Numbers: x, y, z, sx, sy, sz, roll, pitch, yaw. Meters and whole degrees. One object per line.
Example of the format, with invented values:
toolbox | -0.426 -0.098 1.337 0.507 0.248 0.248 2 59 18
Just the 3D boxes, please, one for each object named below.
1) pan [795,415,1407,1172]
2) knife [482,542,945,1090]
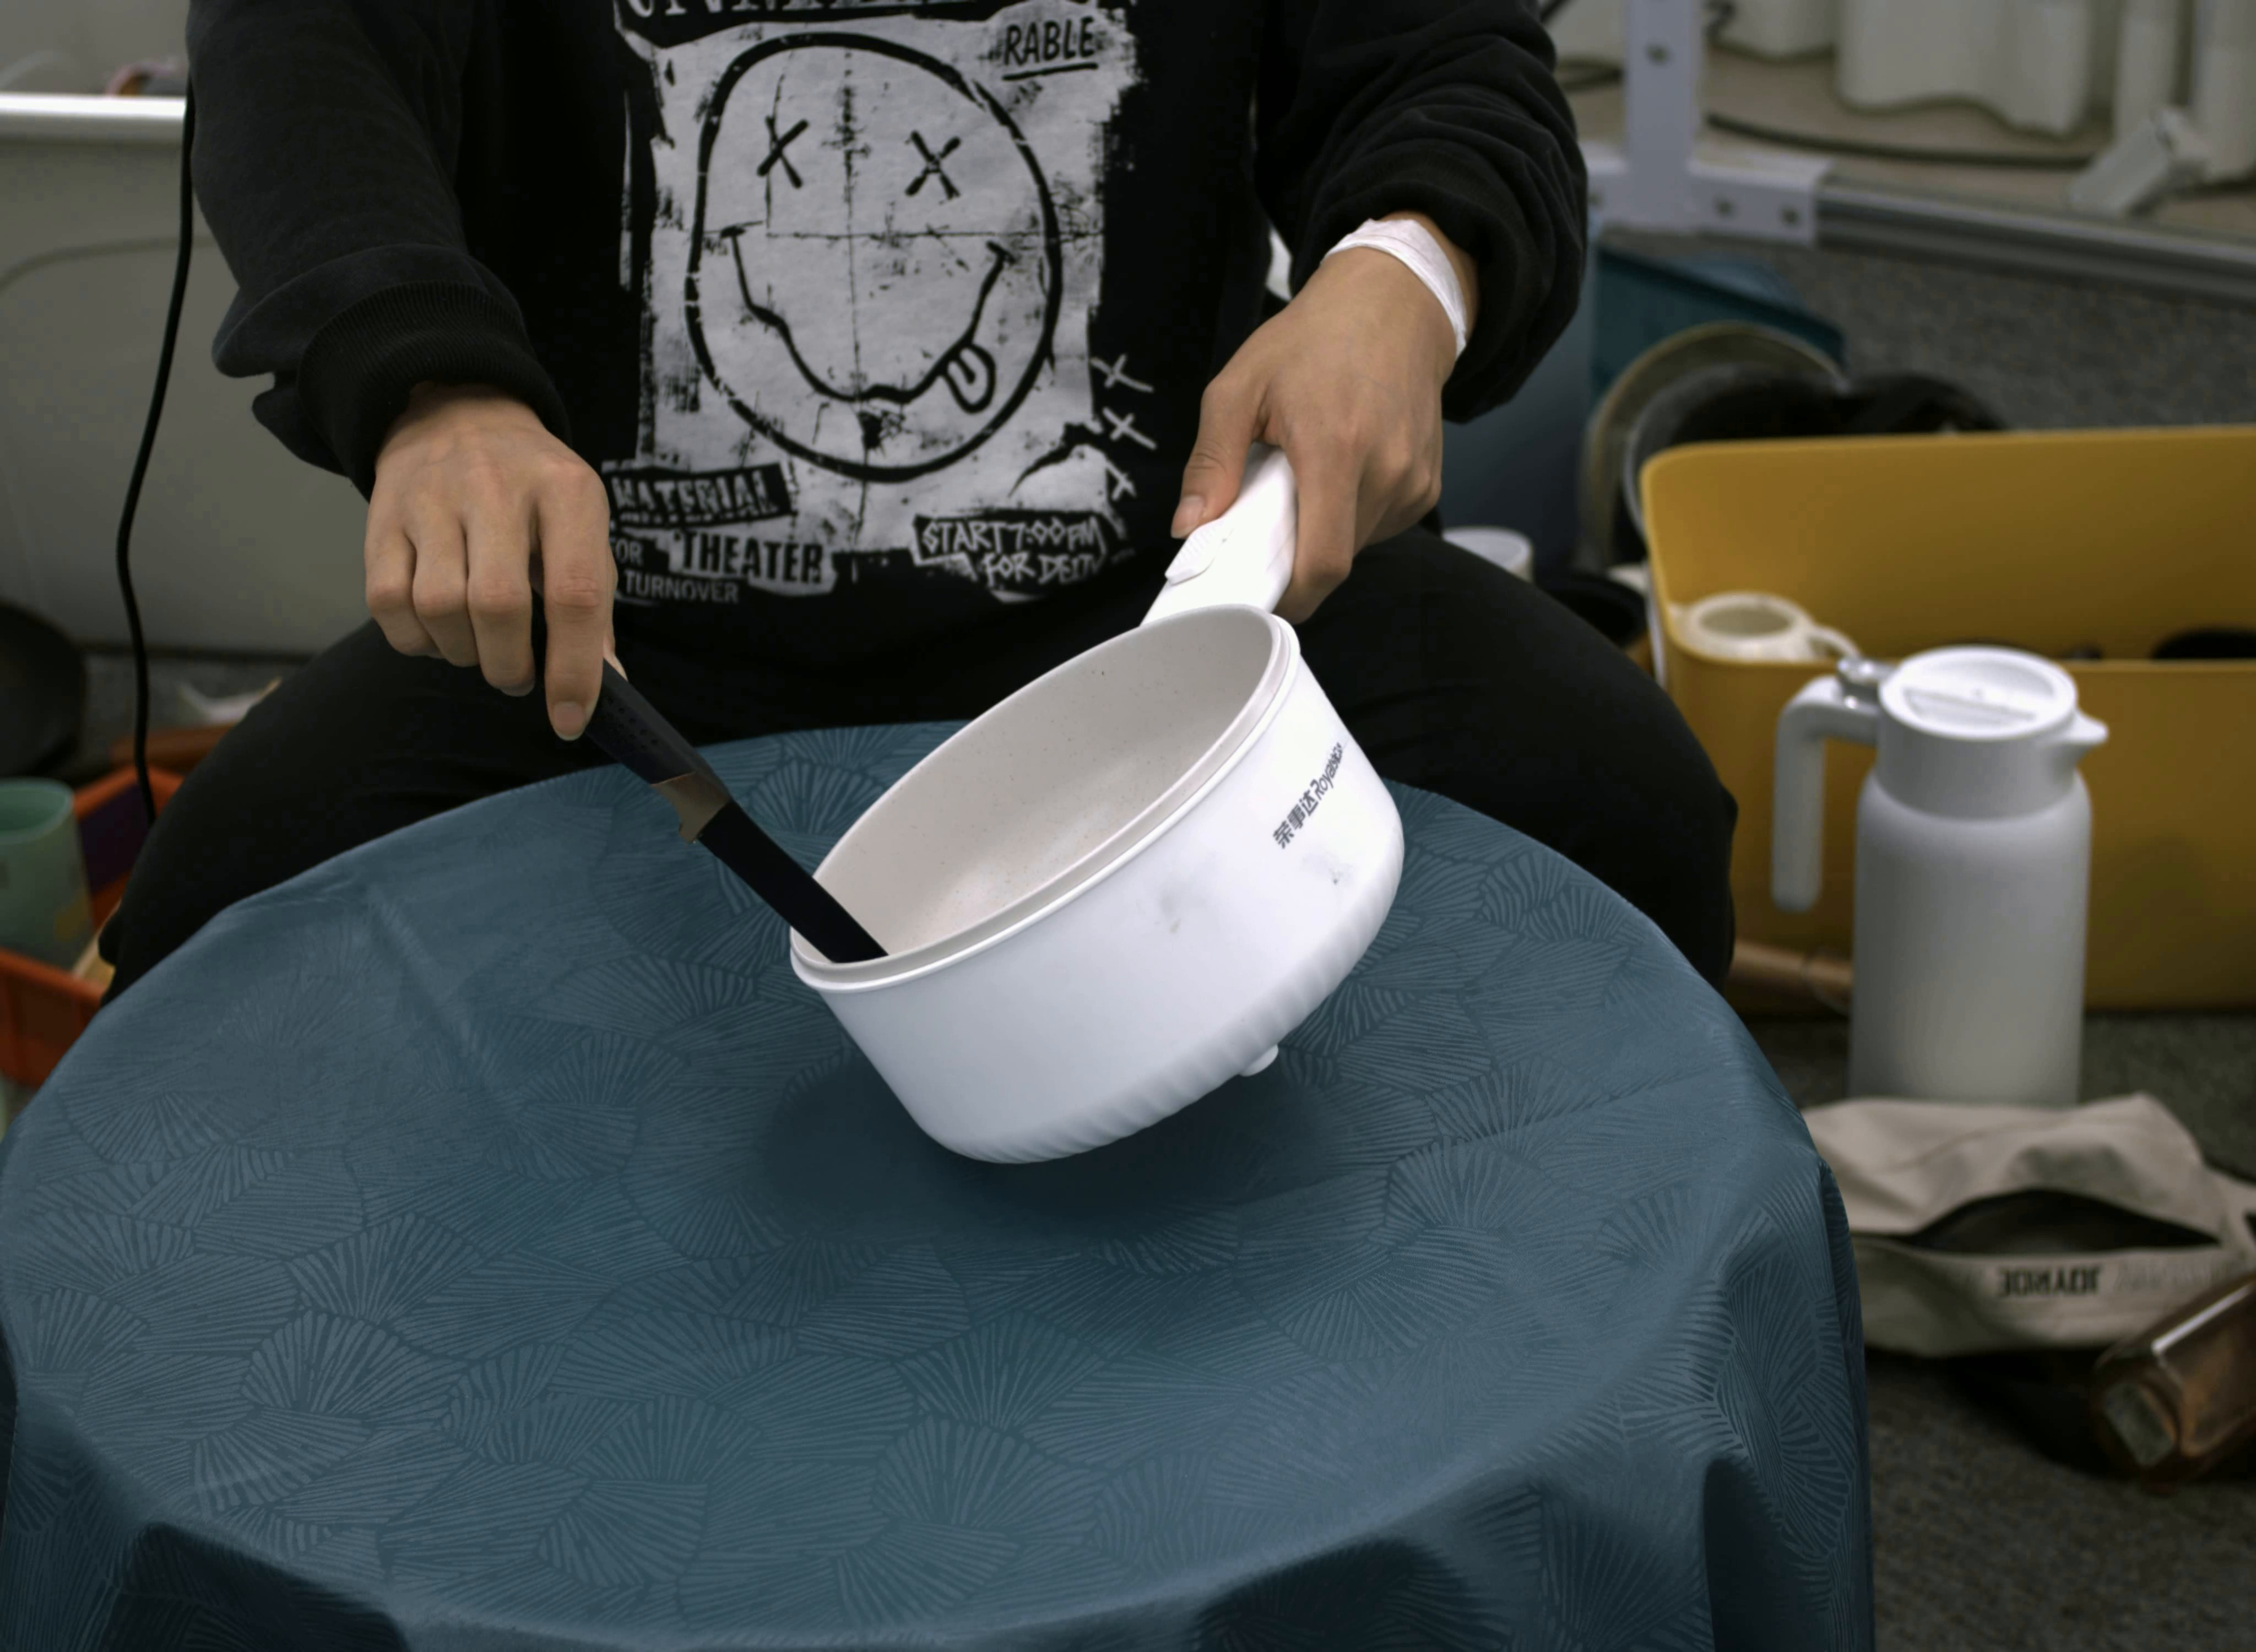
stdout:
pan | 0.024 -0.014 1.937 0.198 0.101 0.361 -24 20 35
knife | -0.131 -0.003 1.816 0.026 0.225 0.017 -42 -1 -4
